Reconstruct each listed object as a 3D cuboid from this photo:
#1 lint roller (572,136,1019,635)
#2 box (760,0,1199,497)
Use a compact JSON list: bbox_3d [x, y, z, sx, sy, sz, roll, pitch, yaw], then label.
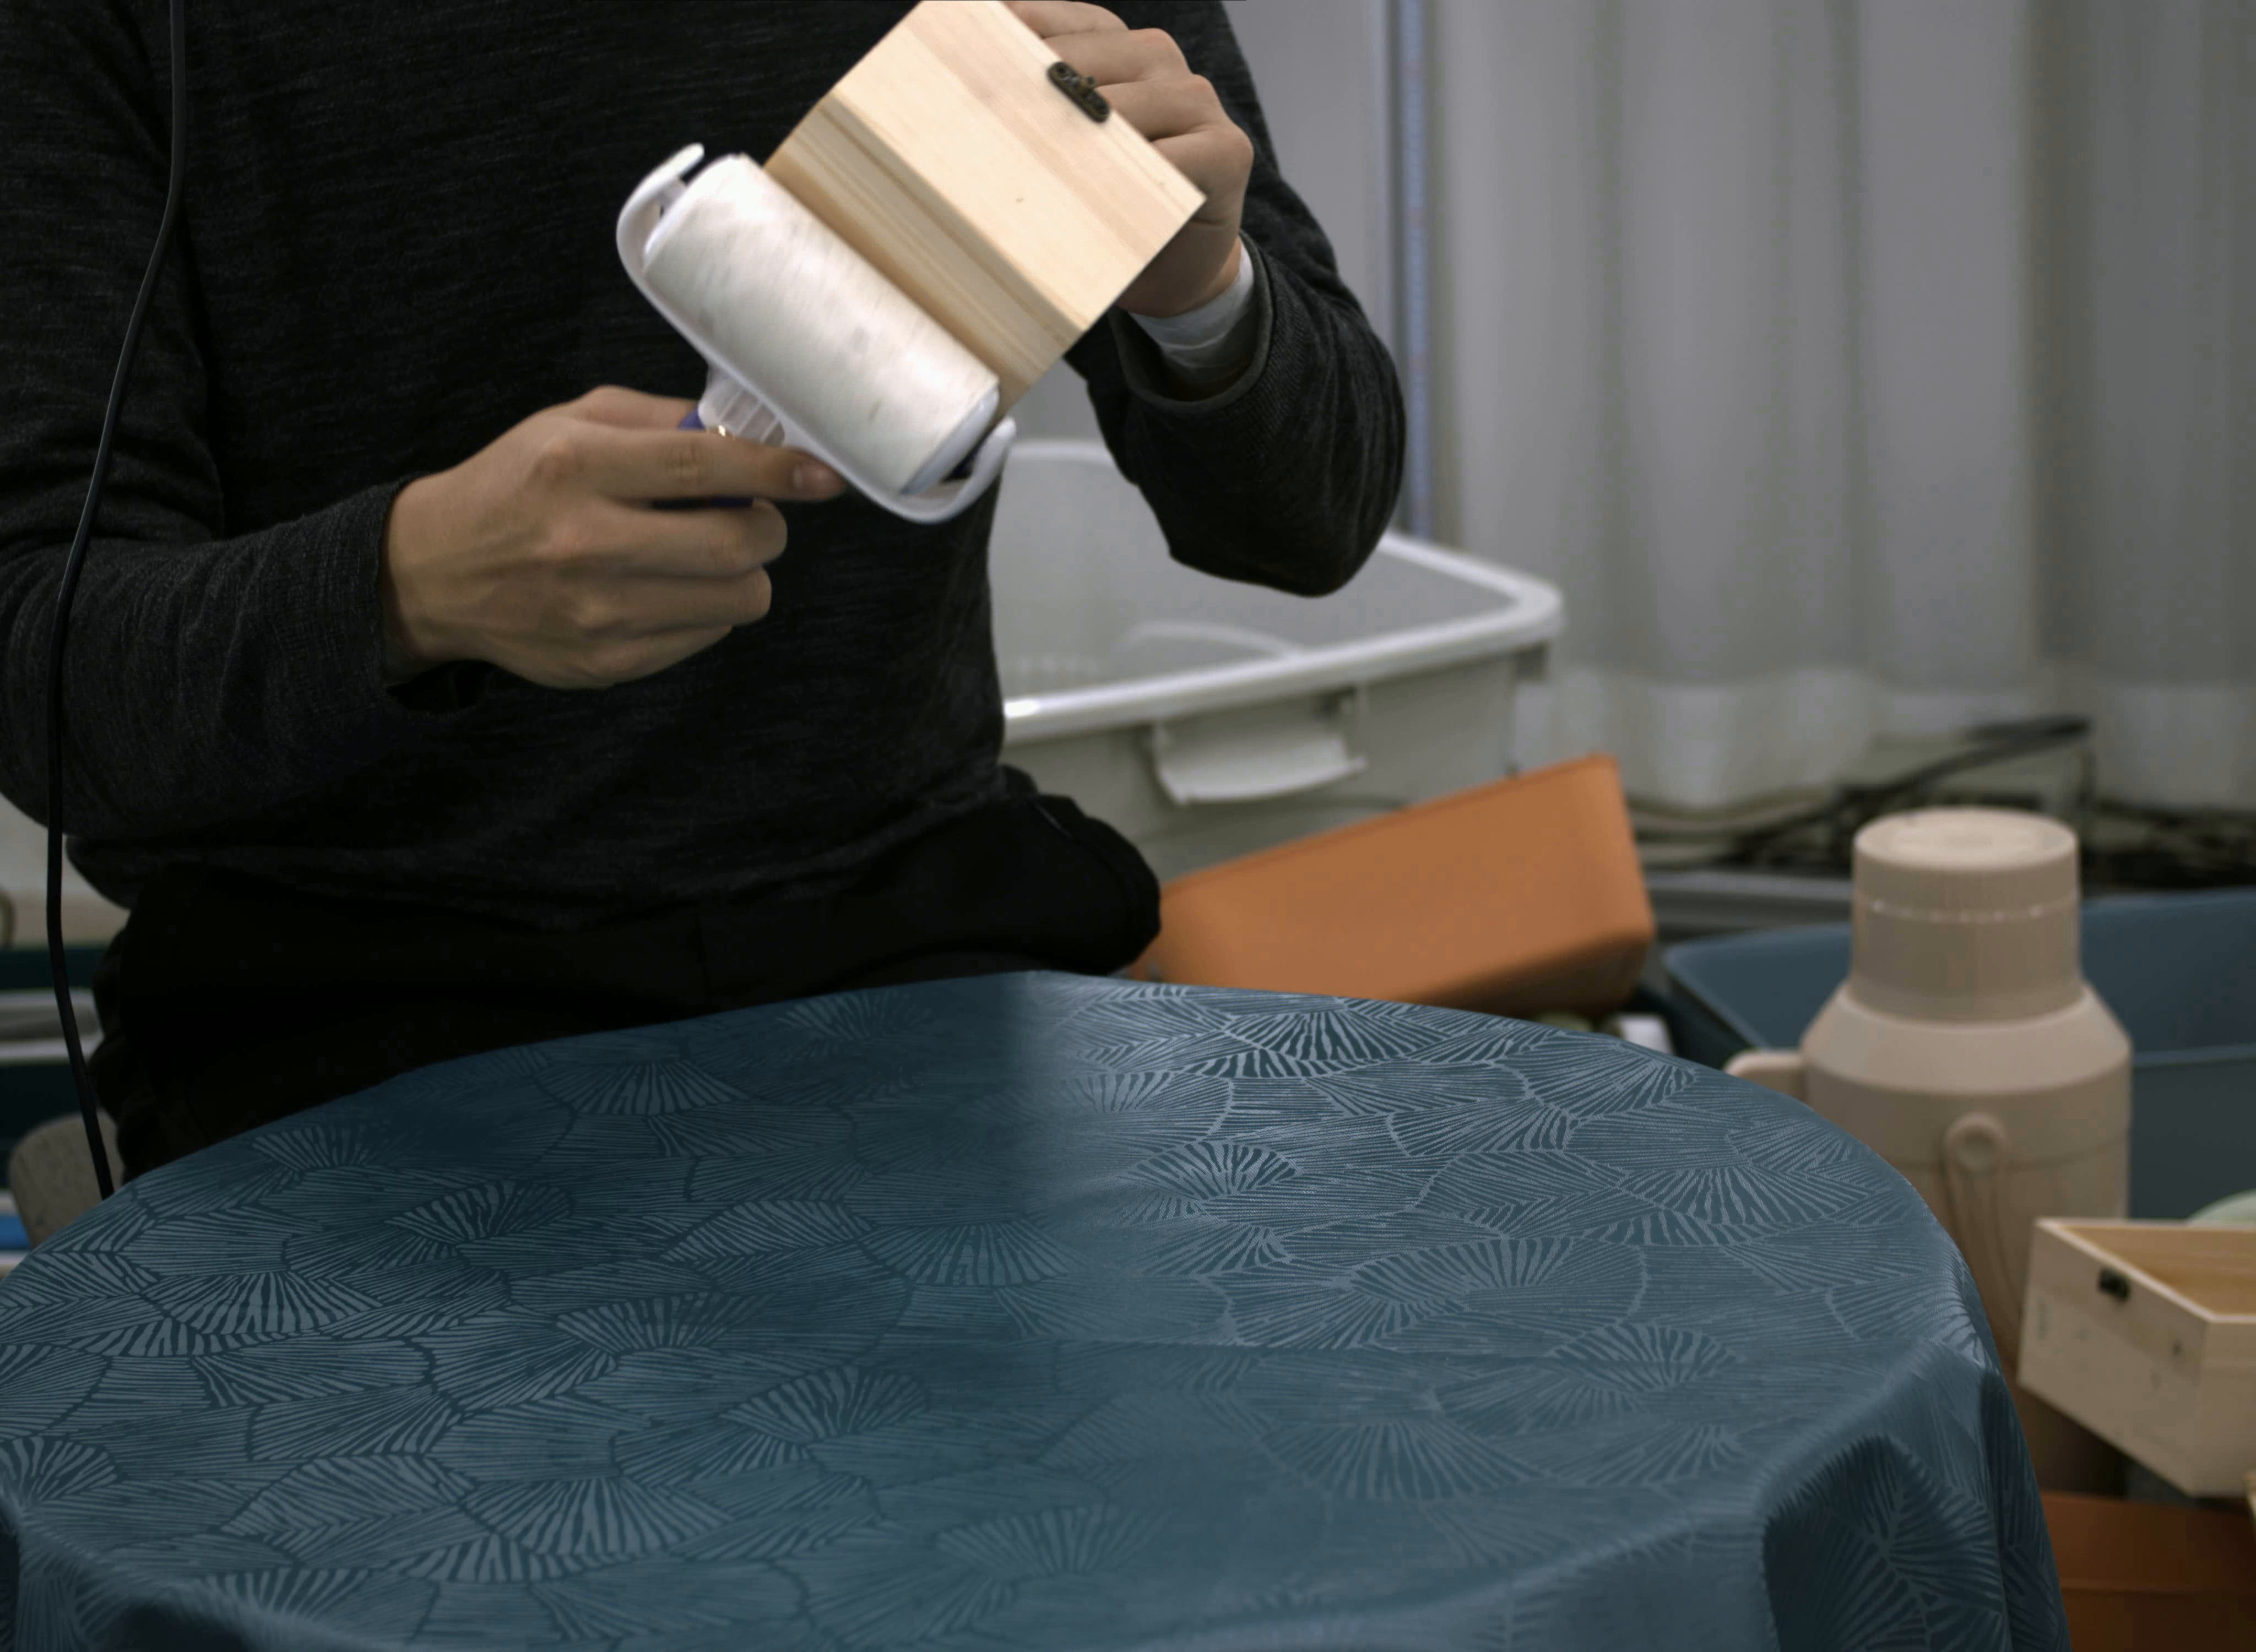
[{"bbox_3d":[-0.125,-0.110,1.625,0.179,0.133,0.050,-46,3,35],"label":"lint roller"},{"bbox_3d":[-0.037,-0.202,1.674,0.133,0.102,0.186,-42,6,47],"label":"box"}]
